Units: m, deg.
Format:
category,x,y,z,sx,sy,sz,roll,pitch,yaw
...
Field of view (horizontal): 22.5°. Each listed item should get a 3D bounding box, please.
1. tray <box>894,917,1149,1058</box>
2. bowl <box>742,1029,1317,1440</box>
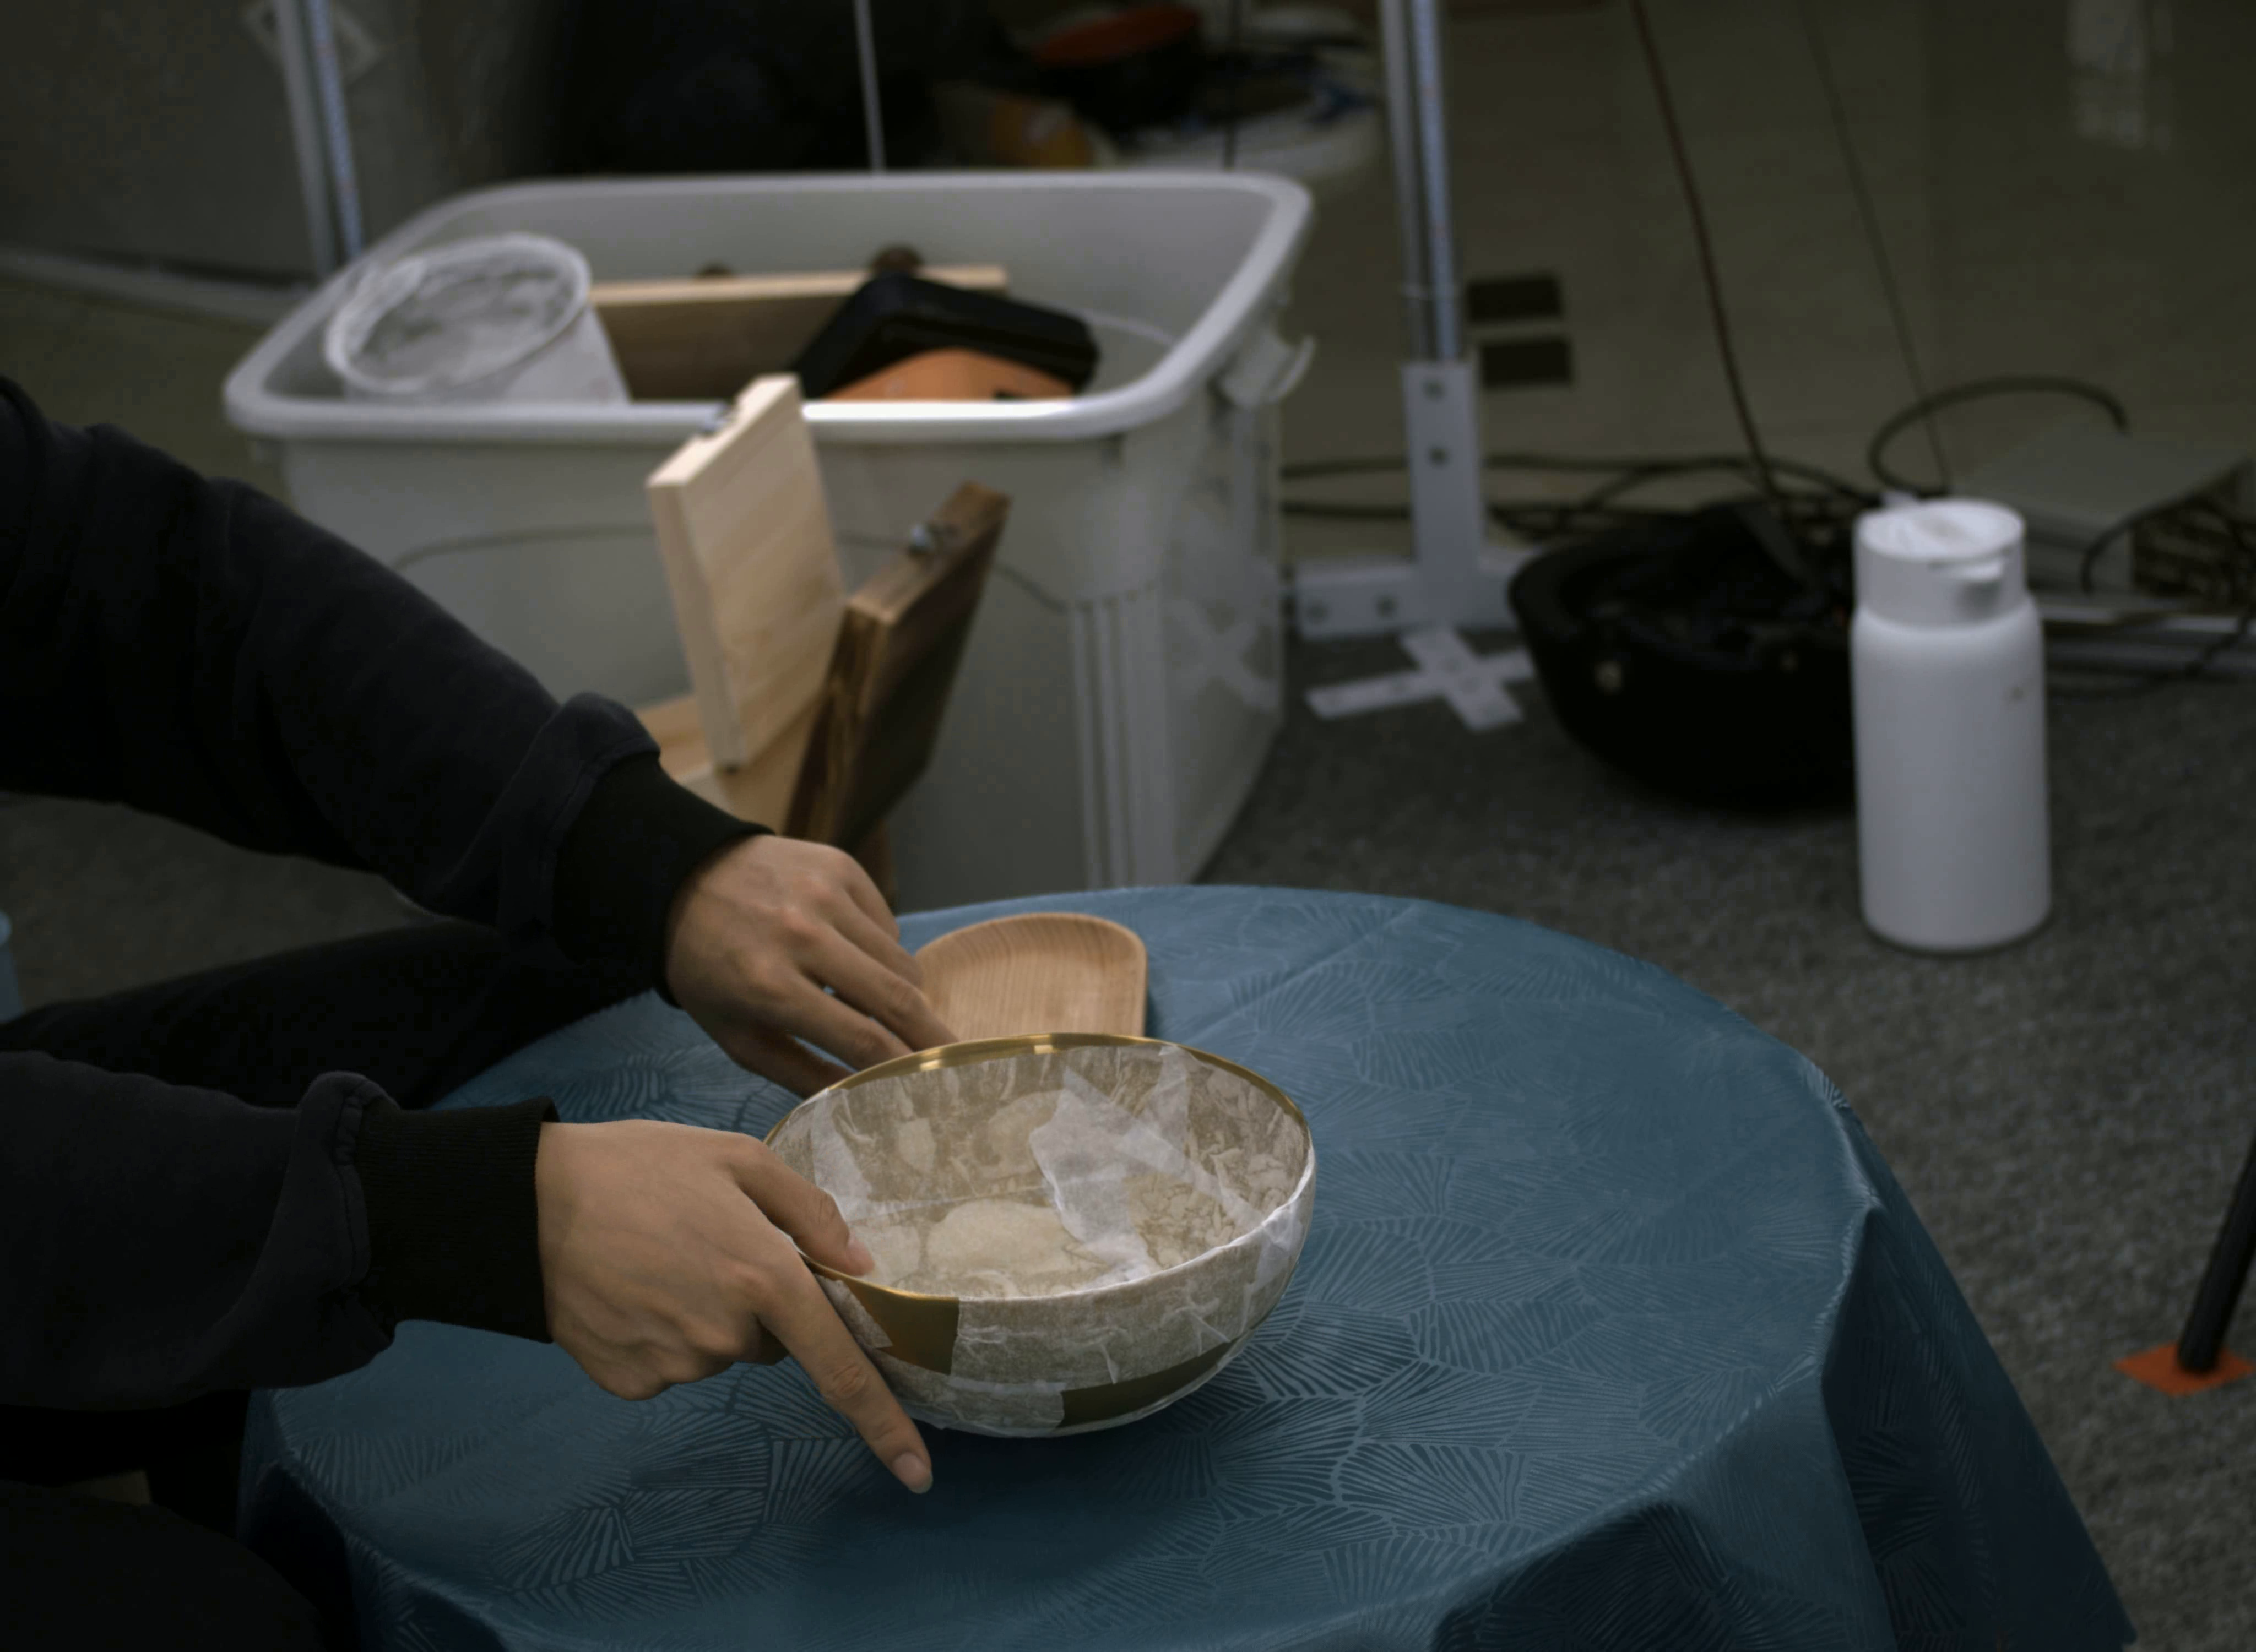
category,x,y,z,sx,sy,sz,roll,pitch,yaw
tray,-0.042,0.093,2.243,0.101,0.020,0.227,-7,27,4
bowl,-0.032,0.156,2.013,0.214,0.096,0.211,-4,25,2
